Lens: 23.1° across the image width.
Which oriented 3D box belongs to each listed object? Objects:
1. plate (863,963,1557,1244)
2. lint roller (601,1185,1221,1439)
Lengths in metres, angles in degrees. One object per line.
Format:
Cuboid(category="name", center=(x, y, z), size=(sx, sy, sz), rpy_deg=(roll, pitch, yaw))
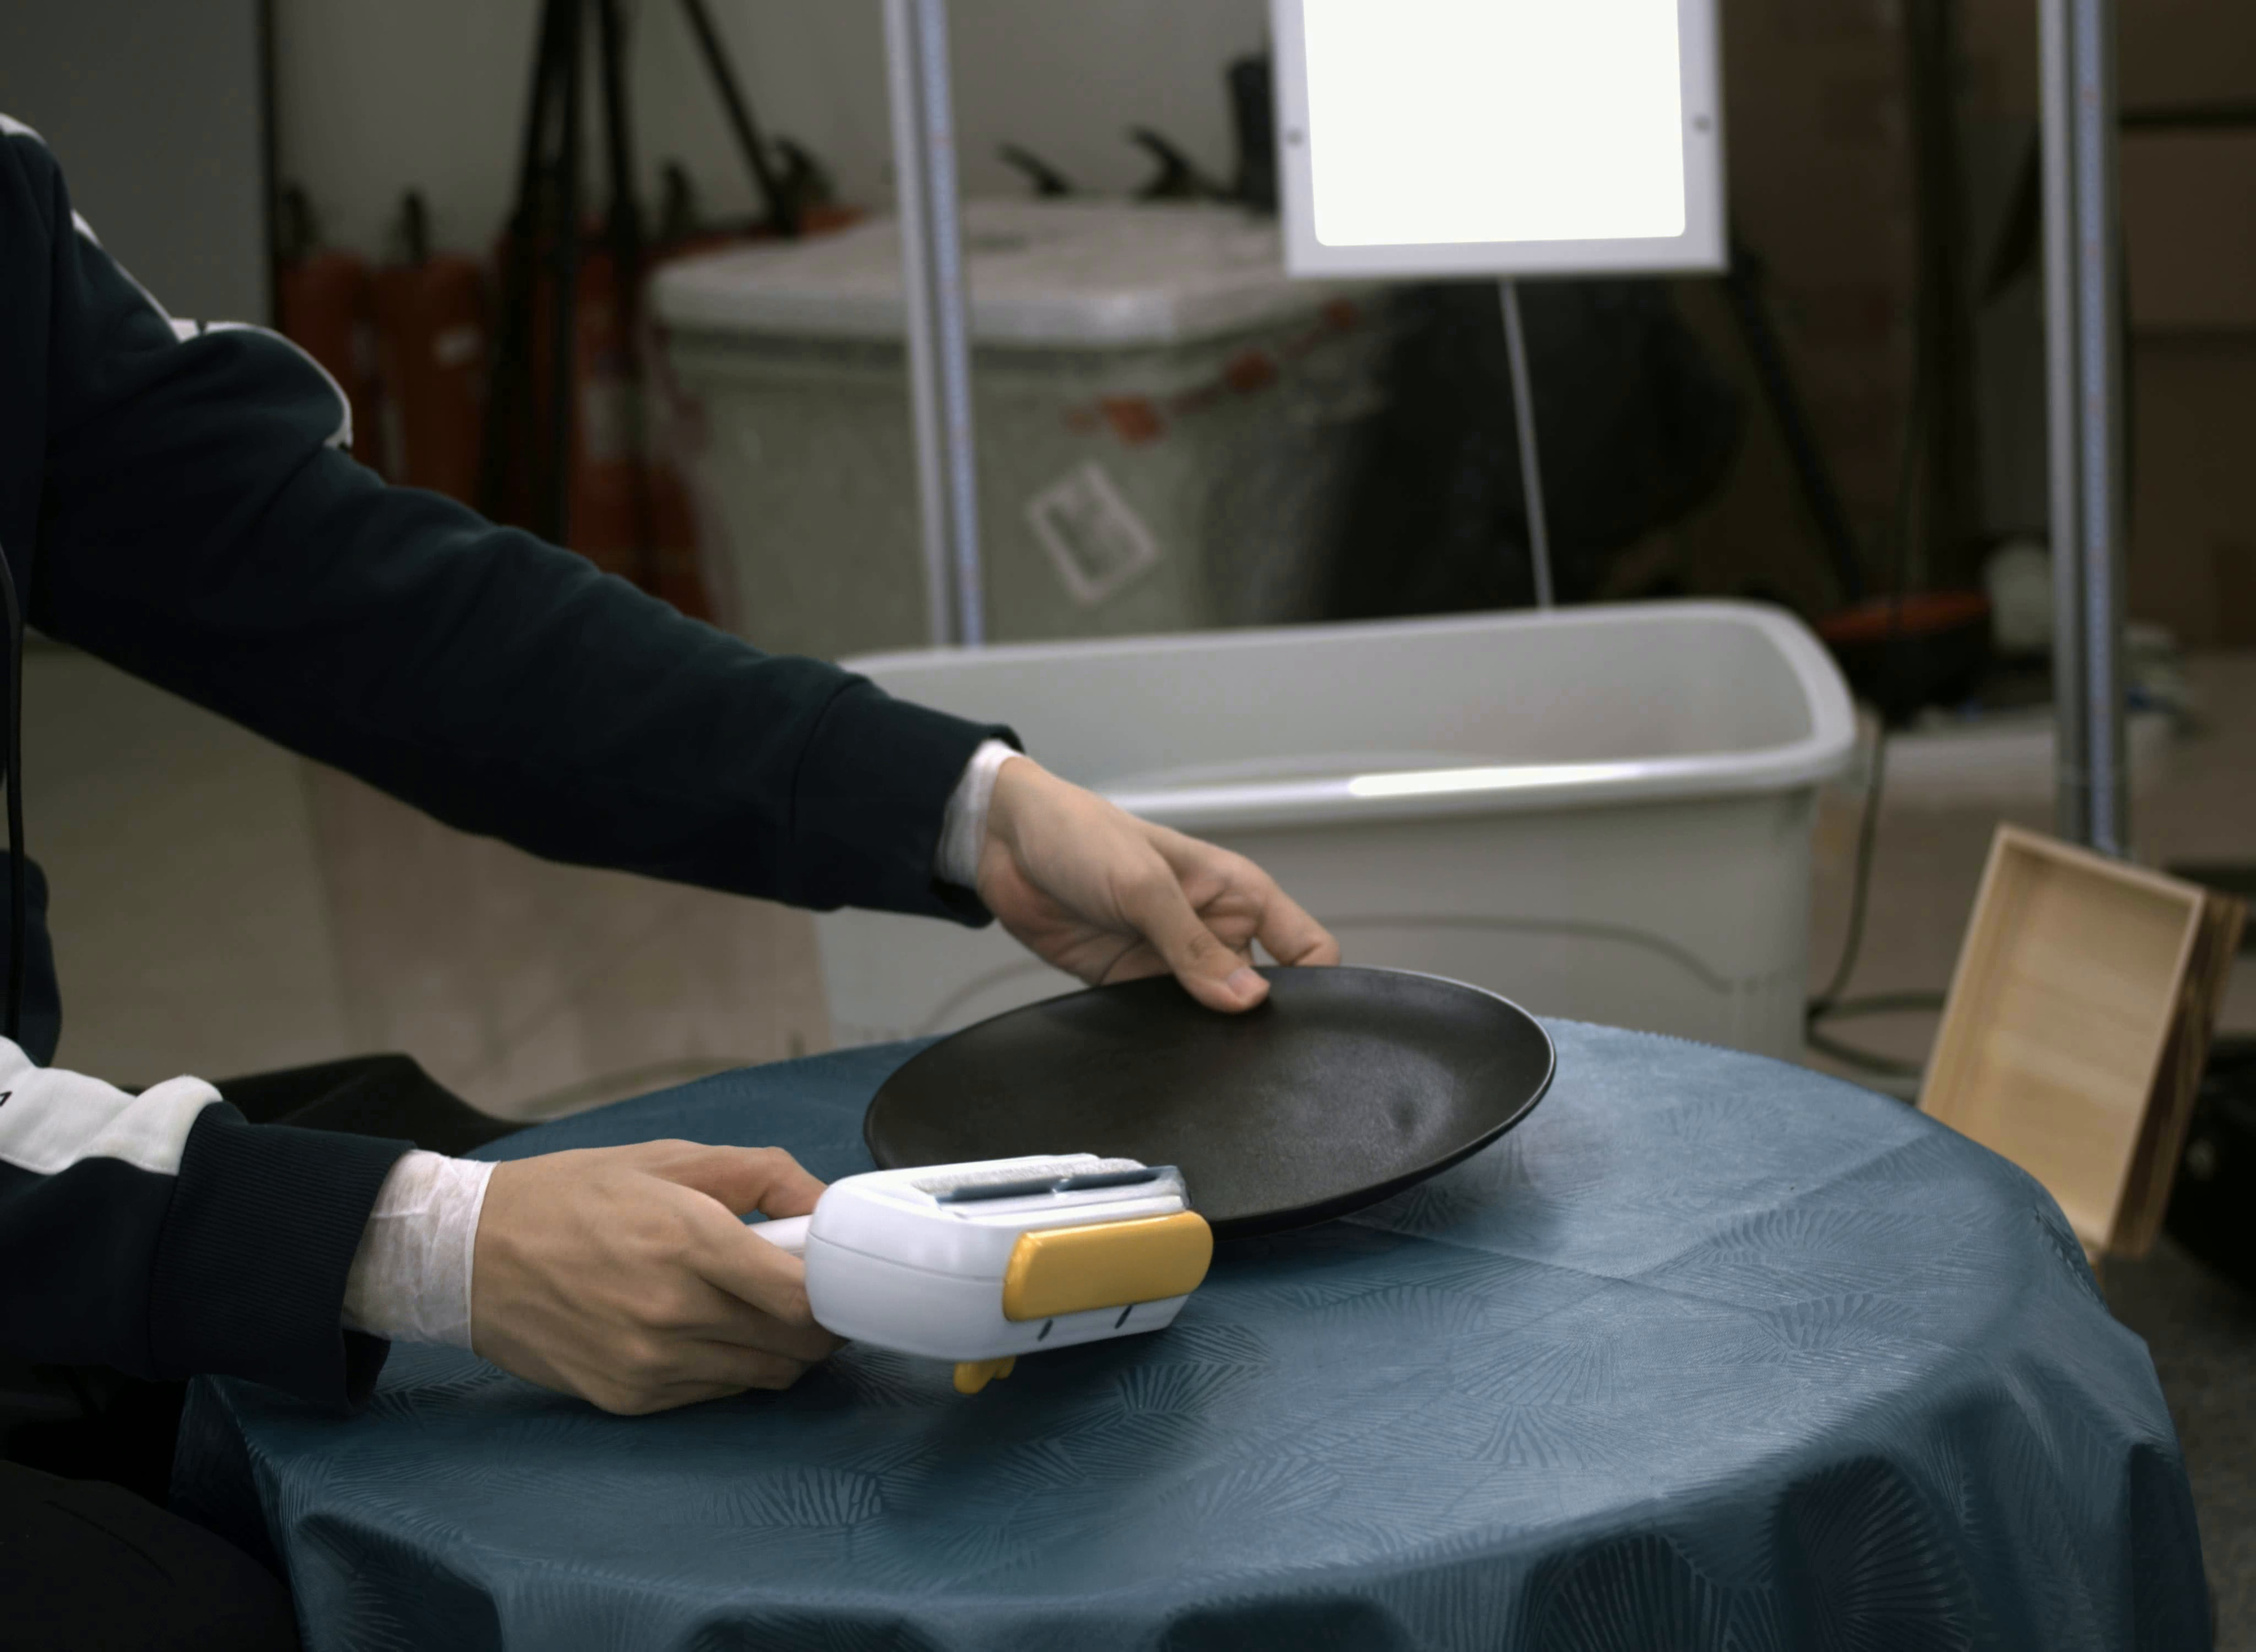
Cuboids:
Cuboid(category="plate", center=(0.029, 0.100, 1.911), size=(0.244, 0.023, 0.244), rpy_deg=(-8, 18, 1))
Cuboid(category="lint roller", center=(-0.086, 0.154, 1.722), size=(0.196, 0.074, 0.188), rpy_deg=(-10, -2, 32))
